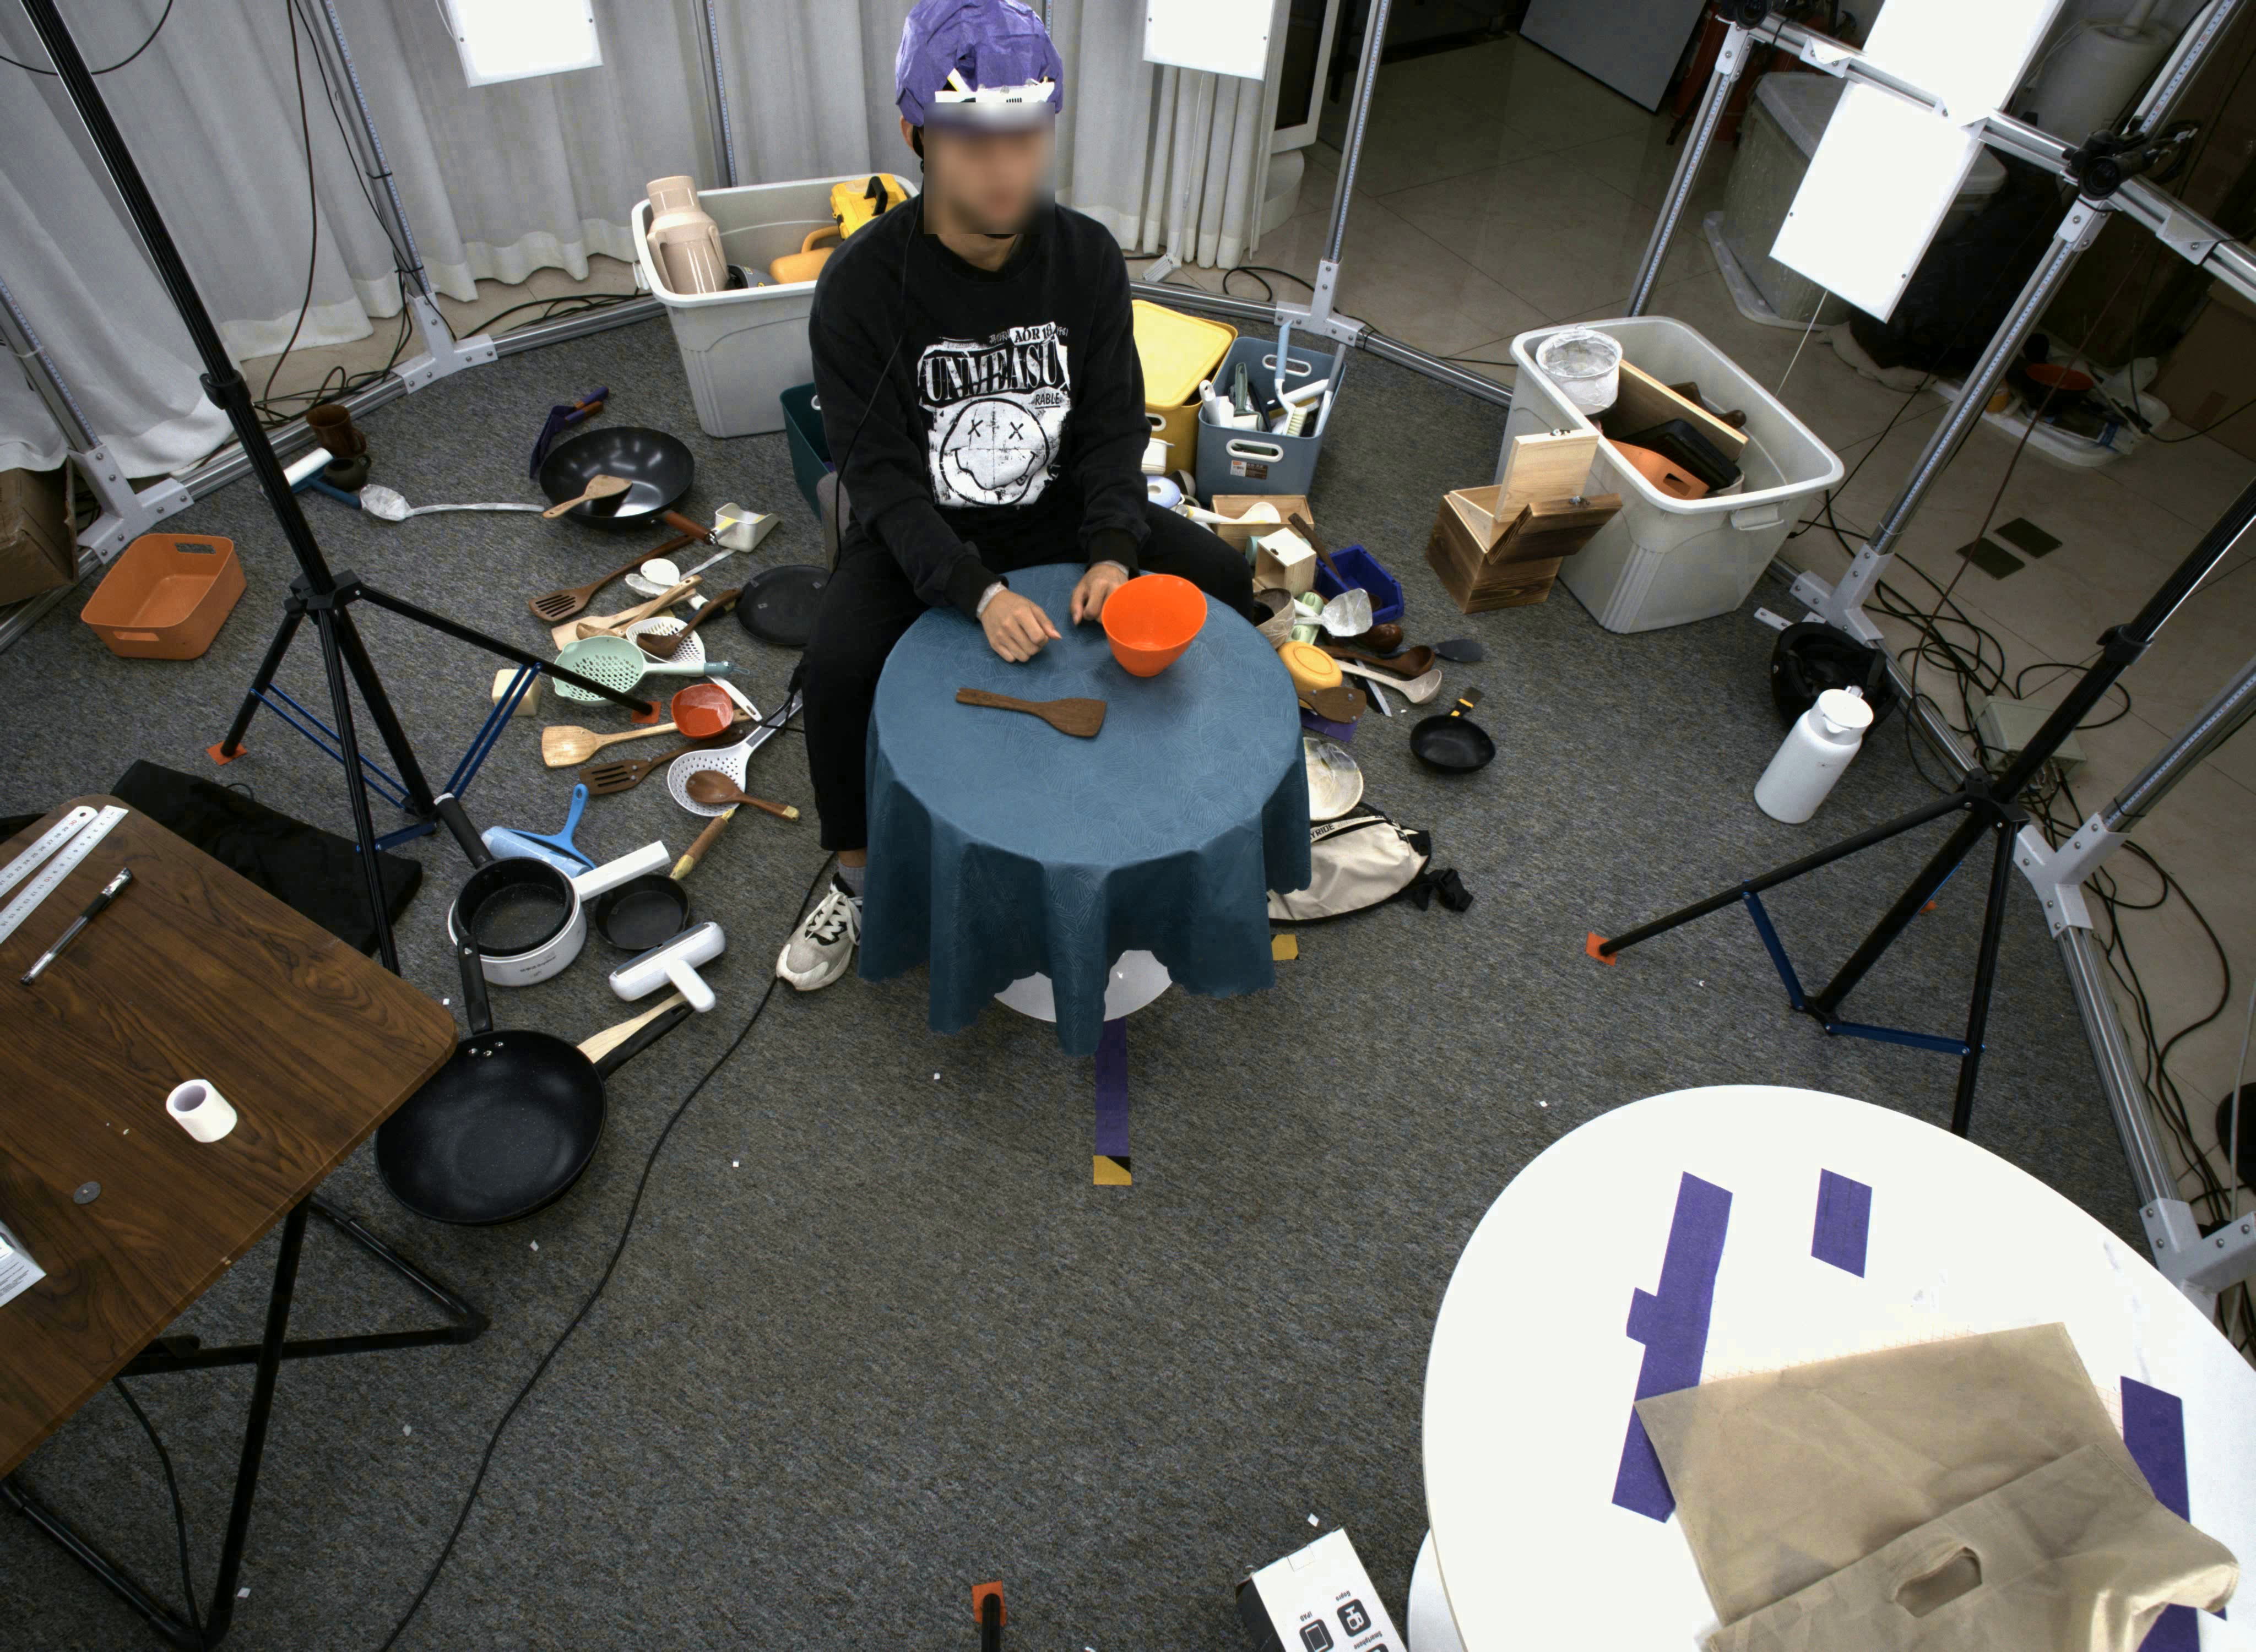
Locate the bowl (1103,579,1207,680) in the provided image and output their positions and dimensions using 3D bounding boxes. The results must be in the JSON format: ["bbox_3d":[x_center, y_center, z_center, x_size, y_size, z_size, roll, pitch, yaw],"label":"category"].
[{"bbox_3d":[0.036,-0.275,1.861,0.148,0.102,0.152,2,49,-3],"label":"bowl"}]

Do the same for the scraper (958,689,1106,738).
[{"bbox_3d":[-0.137,-0.166,1.815,0.211,0.010,0.077,11,48,7],"label":"scraper"}]
